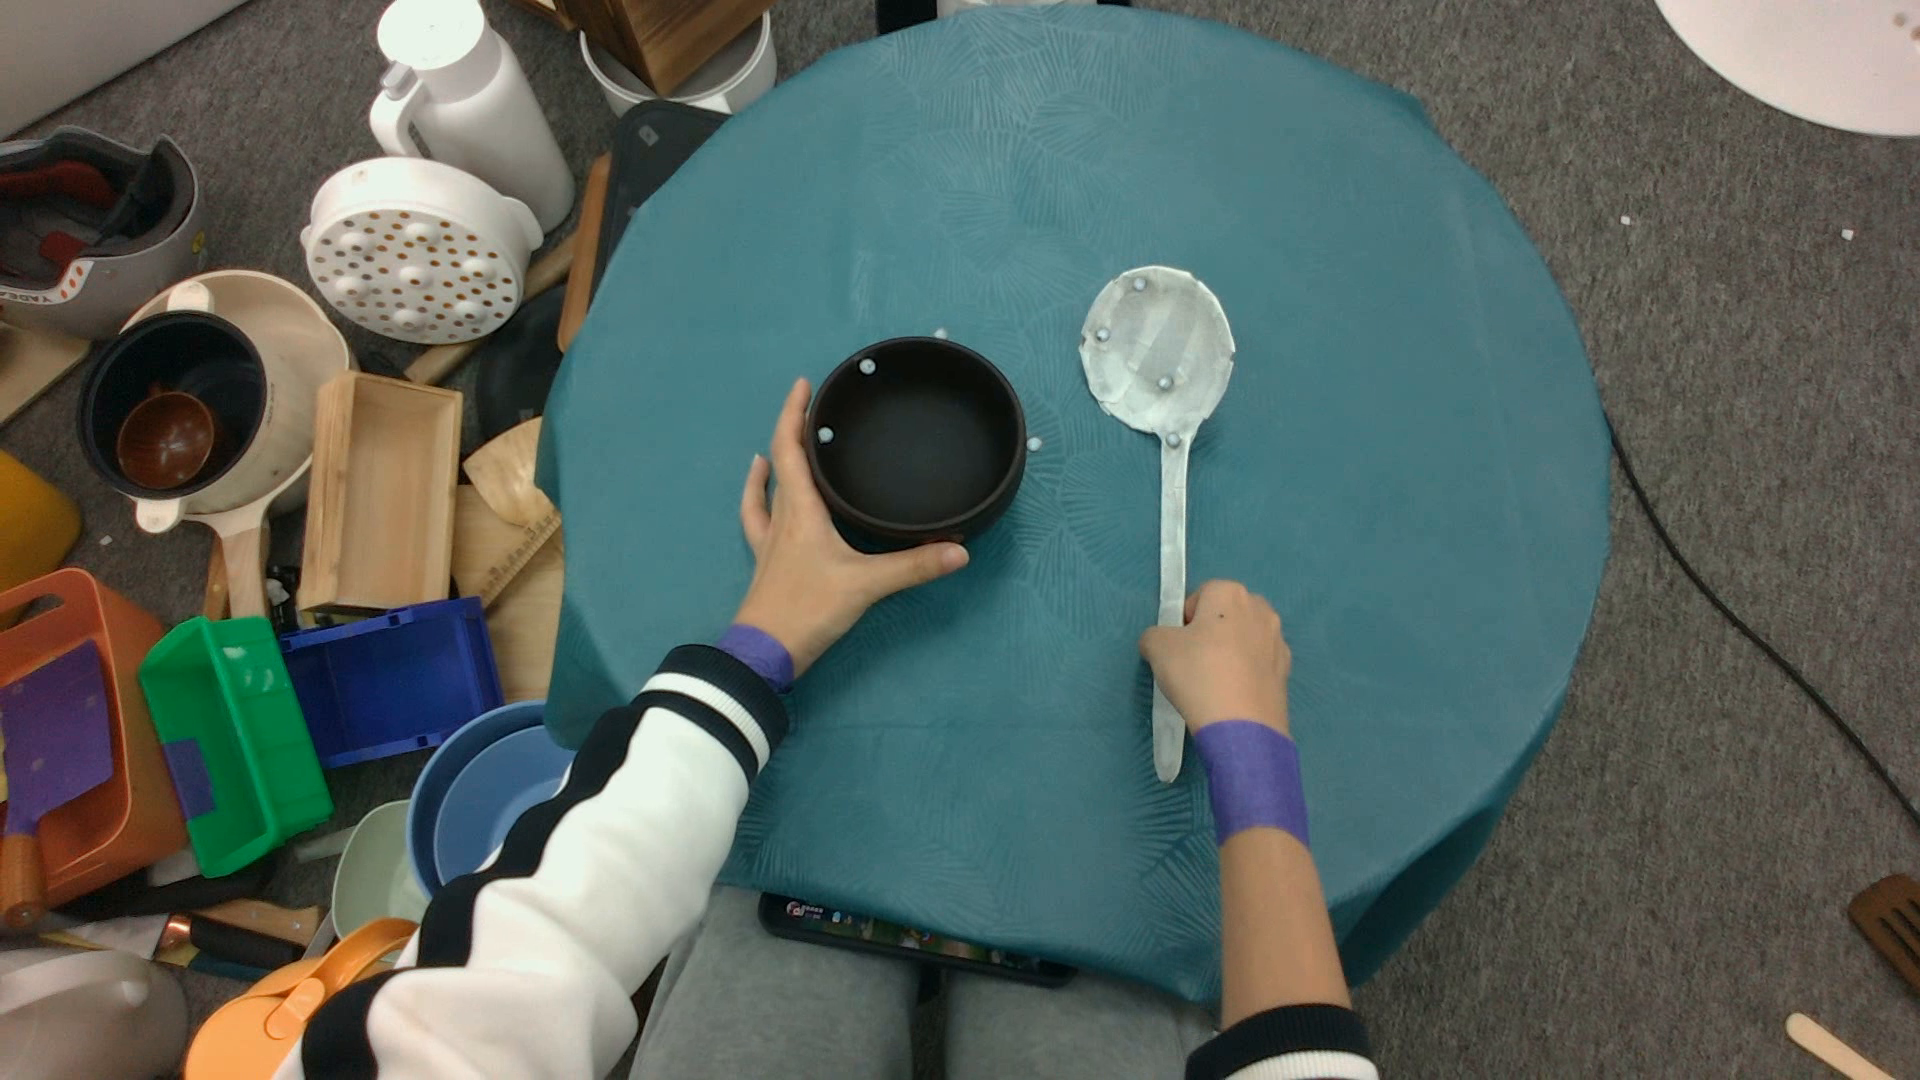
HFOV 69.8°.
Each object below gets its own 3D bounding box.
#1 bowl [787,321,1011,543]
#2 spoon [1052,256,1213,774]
[{"bbox_3d":[-0.032,-0.052,0.744,0.118,0.069,0.118,0,68,0],"label":"bowl"},{"bbox_3d":[0.085,-0.017,0.740,0.100,0.059,0.278,-10,65,40],"label":"spoon"}]
